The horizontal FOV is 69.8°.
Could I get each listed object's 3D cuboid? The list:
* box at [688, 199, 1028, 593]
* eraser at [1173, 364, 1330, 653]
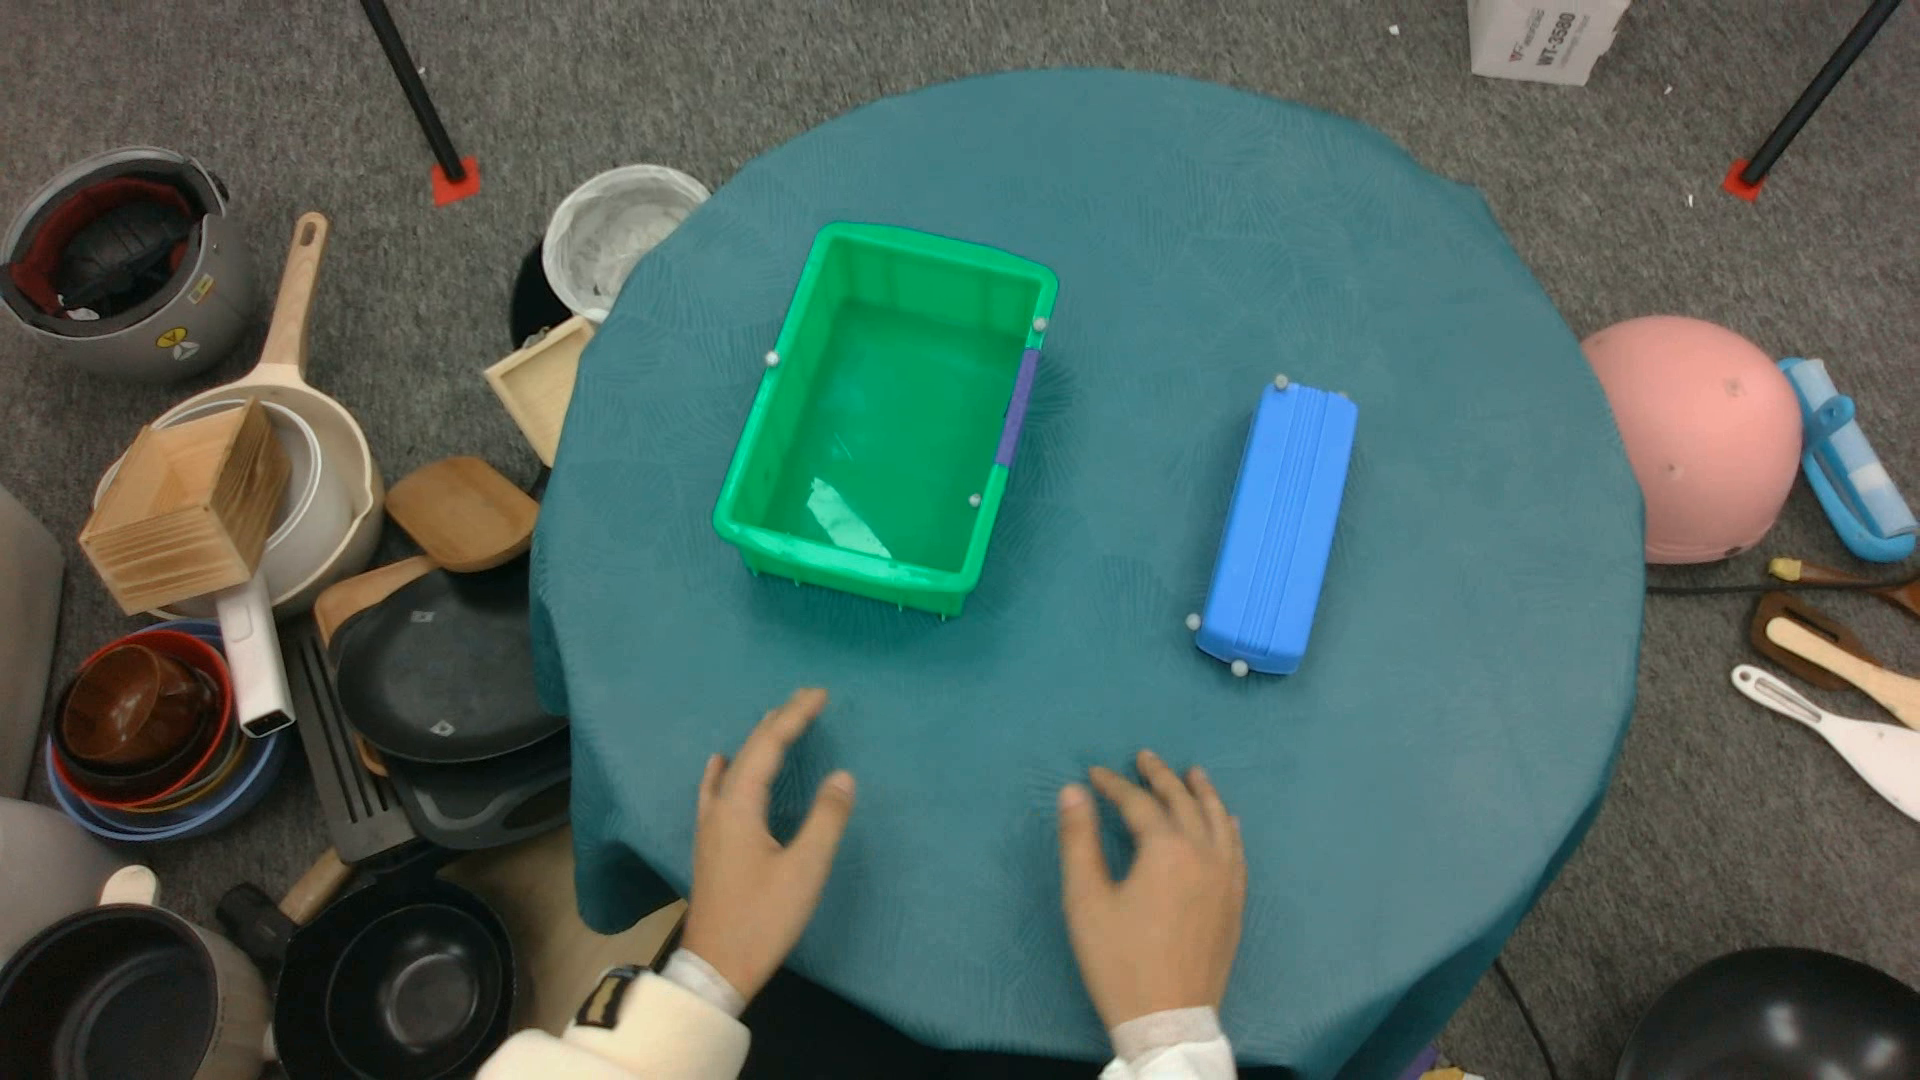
[{"bbox_3d":[-0.050,-0.076,0.741,0.138,0.065,0.211,13,64,2],"label":"box"},{"bbox_3d":[0.157,-0.022,0.729,0.054,0.047,0.163,15,65,6],"label":"eraser"}]
